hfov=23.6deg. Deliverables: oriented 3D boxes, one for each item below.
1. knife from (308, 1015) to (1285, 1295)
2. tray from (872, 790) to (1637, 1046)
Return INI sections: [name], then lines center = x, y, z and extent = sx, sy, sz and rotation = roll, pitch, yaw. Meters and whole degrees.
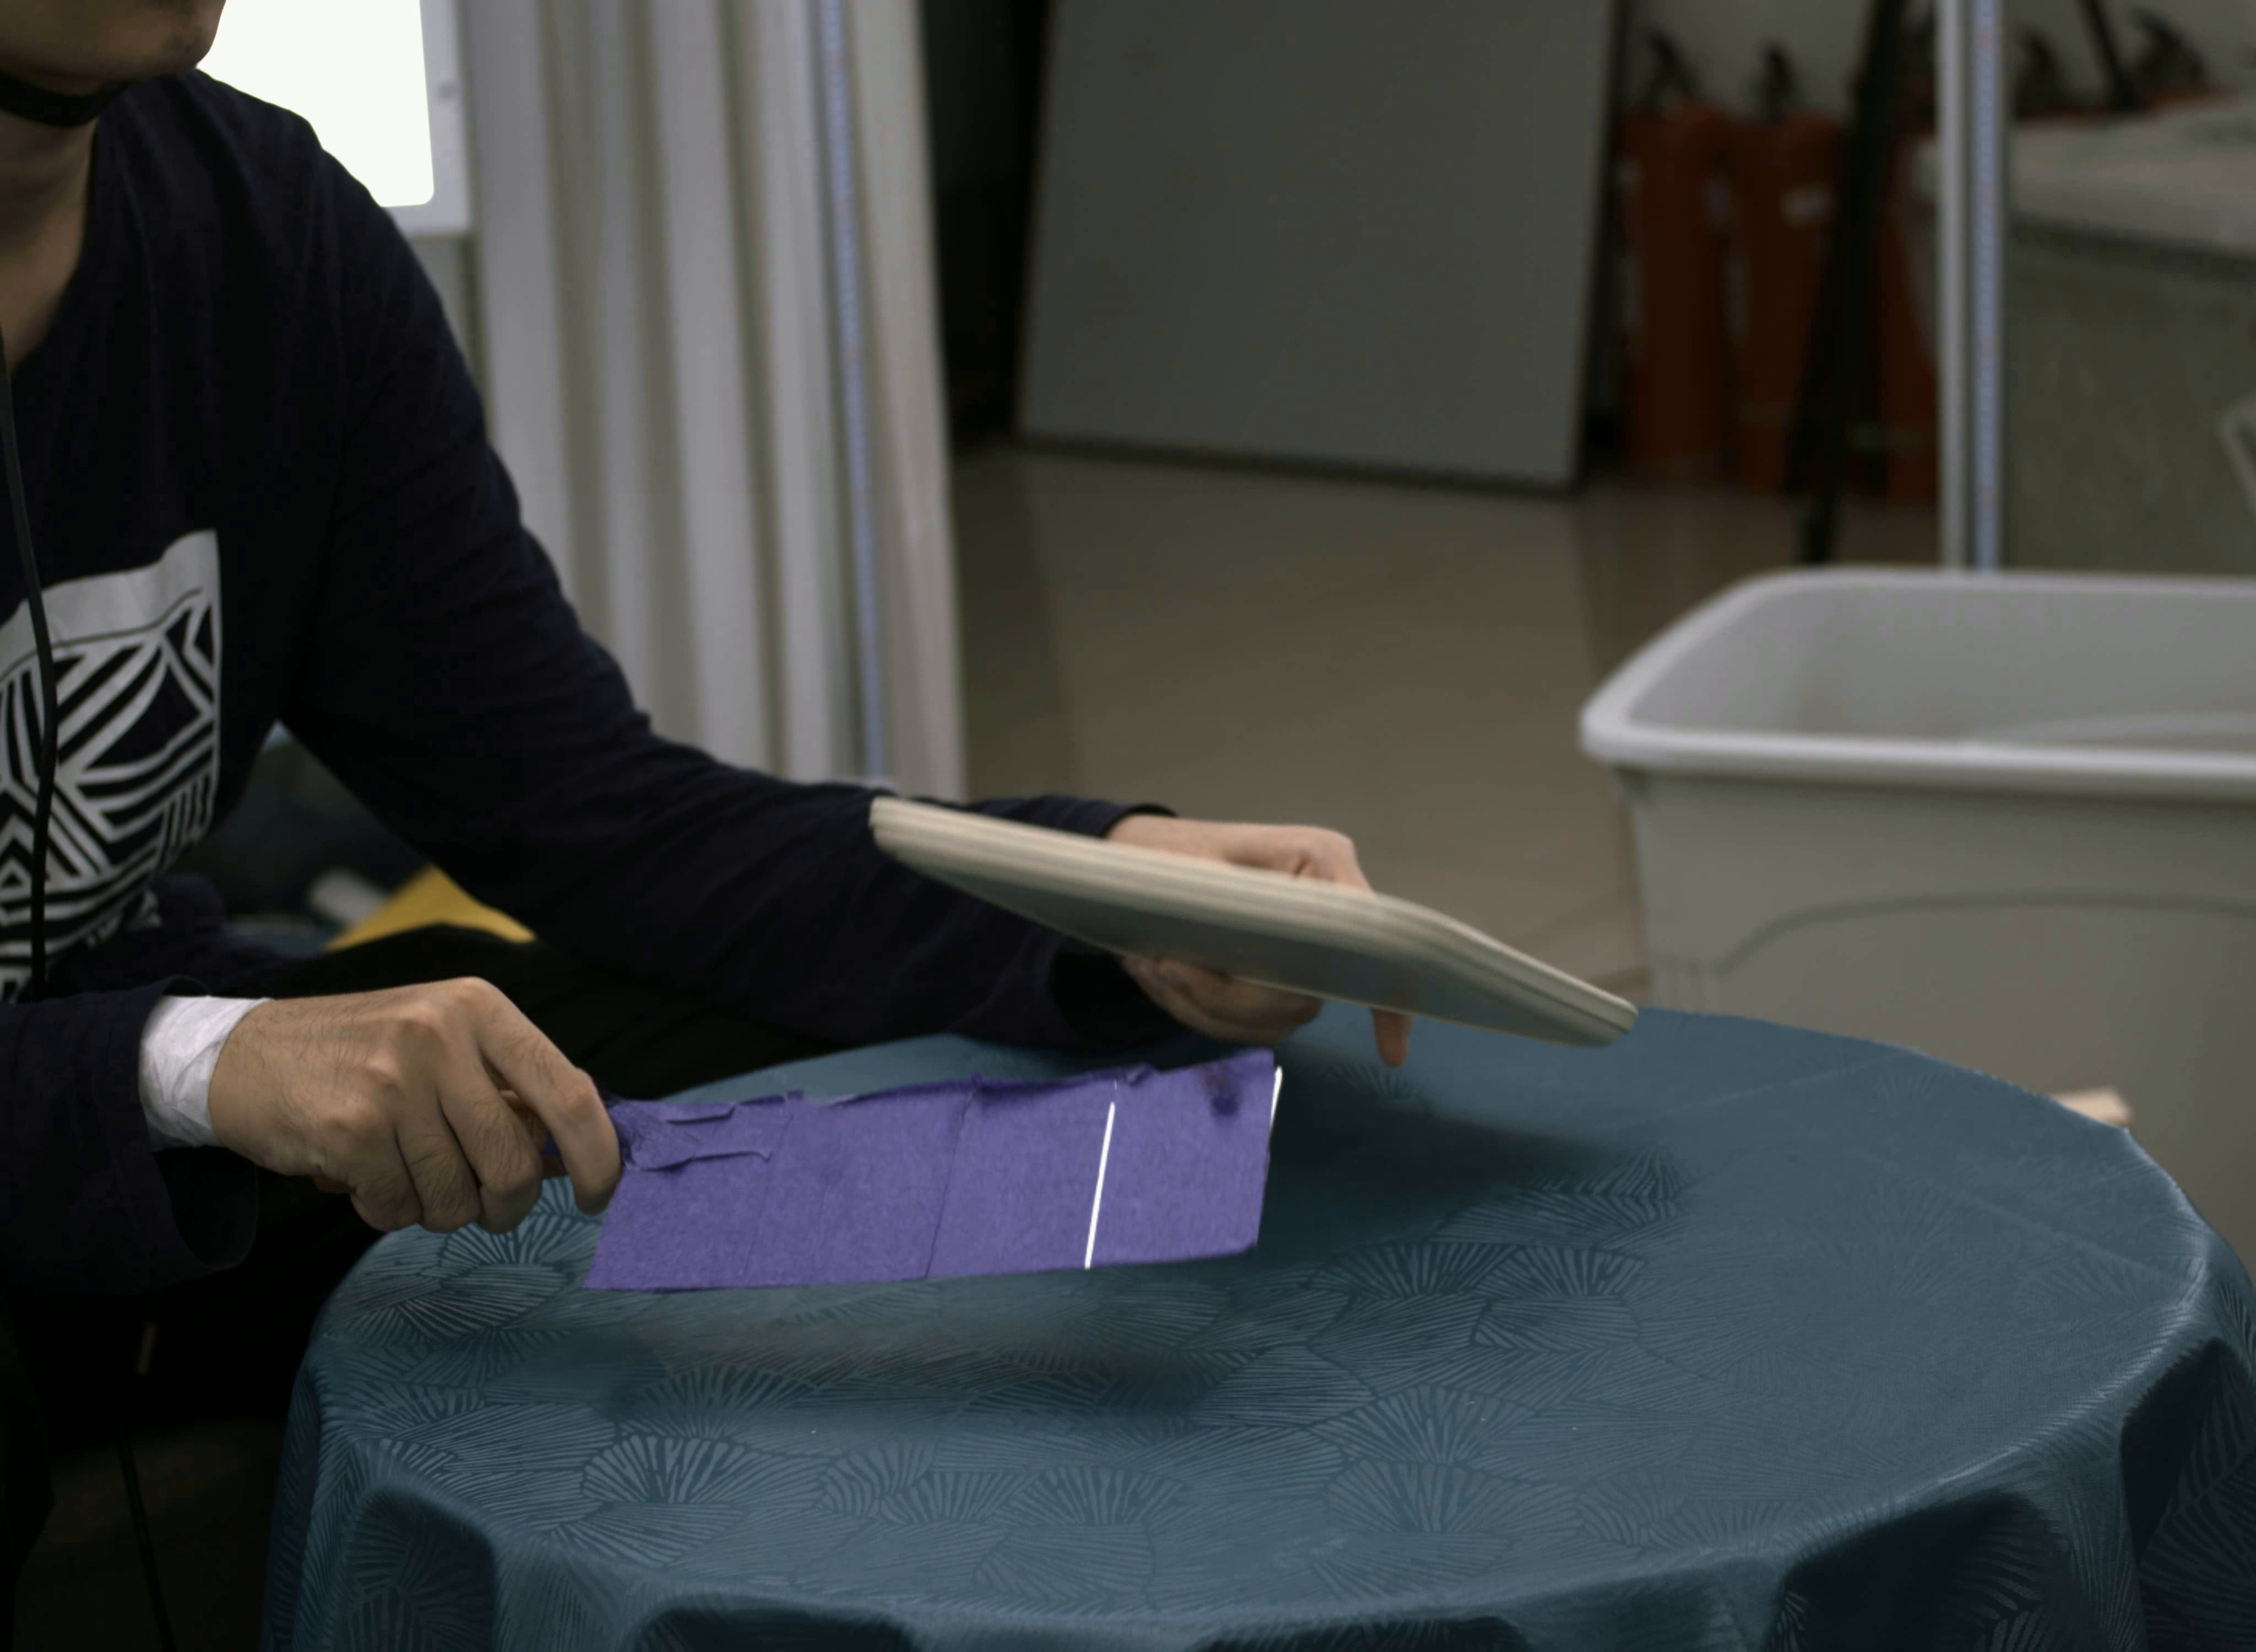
[knife]
center = -0.107, 0.104, 1.629
extent = 0.314, 0.032, 0.104
rotation = -8, 32, 15
[tray]
center = 0.039, 0.033, 1.789
extent = 0.241, 0.017, 0.168
rotation = 10, -11, 40
